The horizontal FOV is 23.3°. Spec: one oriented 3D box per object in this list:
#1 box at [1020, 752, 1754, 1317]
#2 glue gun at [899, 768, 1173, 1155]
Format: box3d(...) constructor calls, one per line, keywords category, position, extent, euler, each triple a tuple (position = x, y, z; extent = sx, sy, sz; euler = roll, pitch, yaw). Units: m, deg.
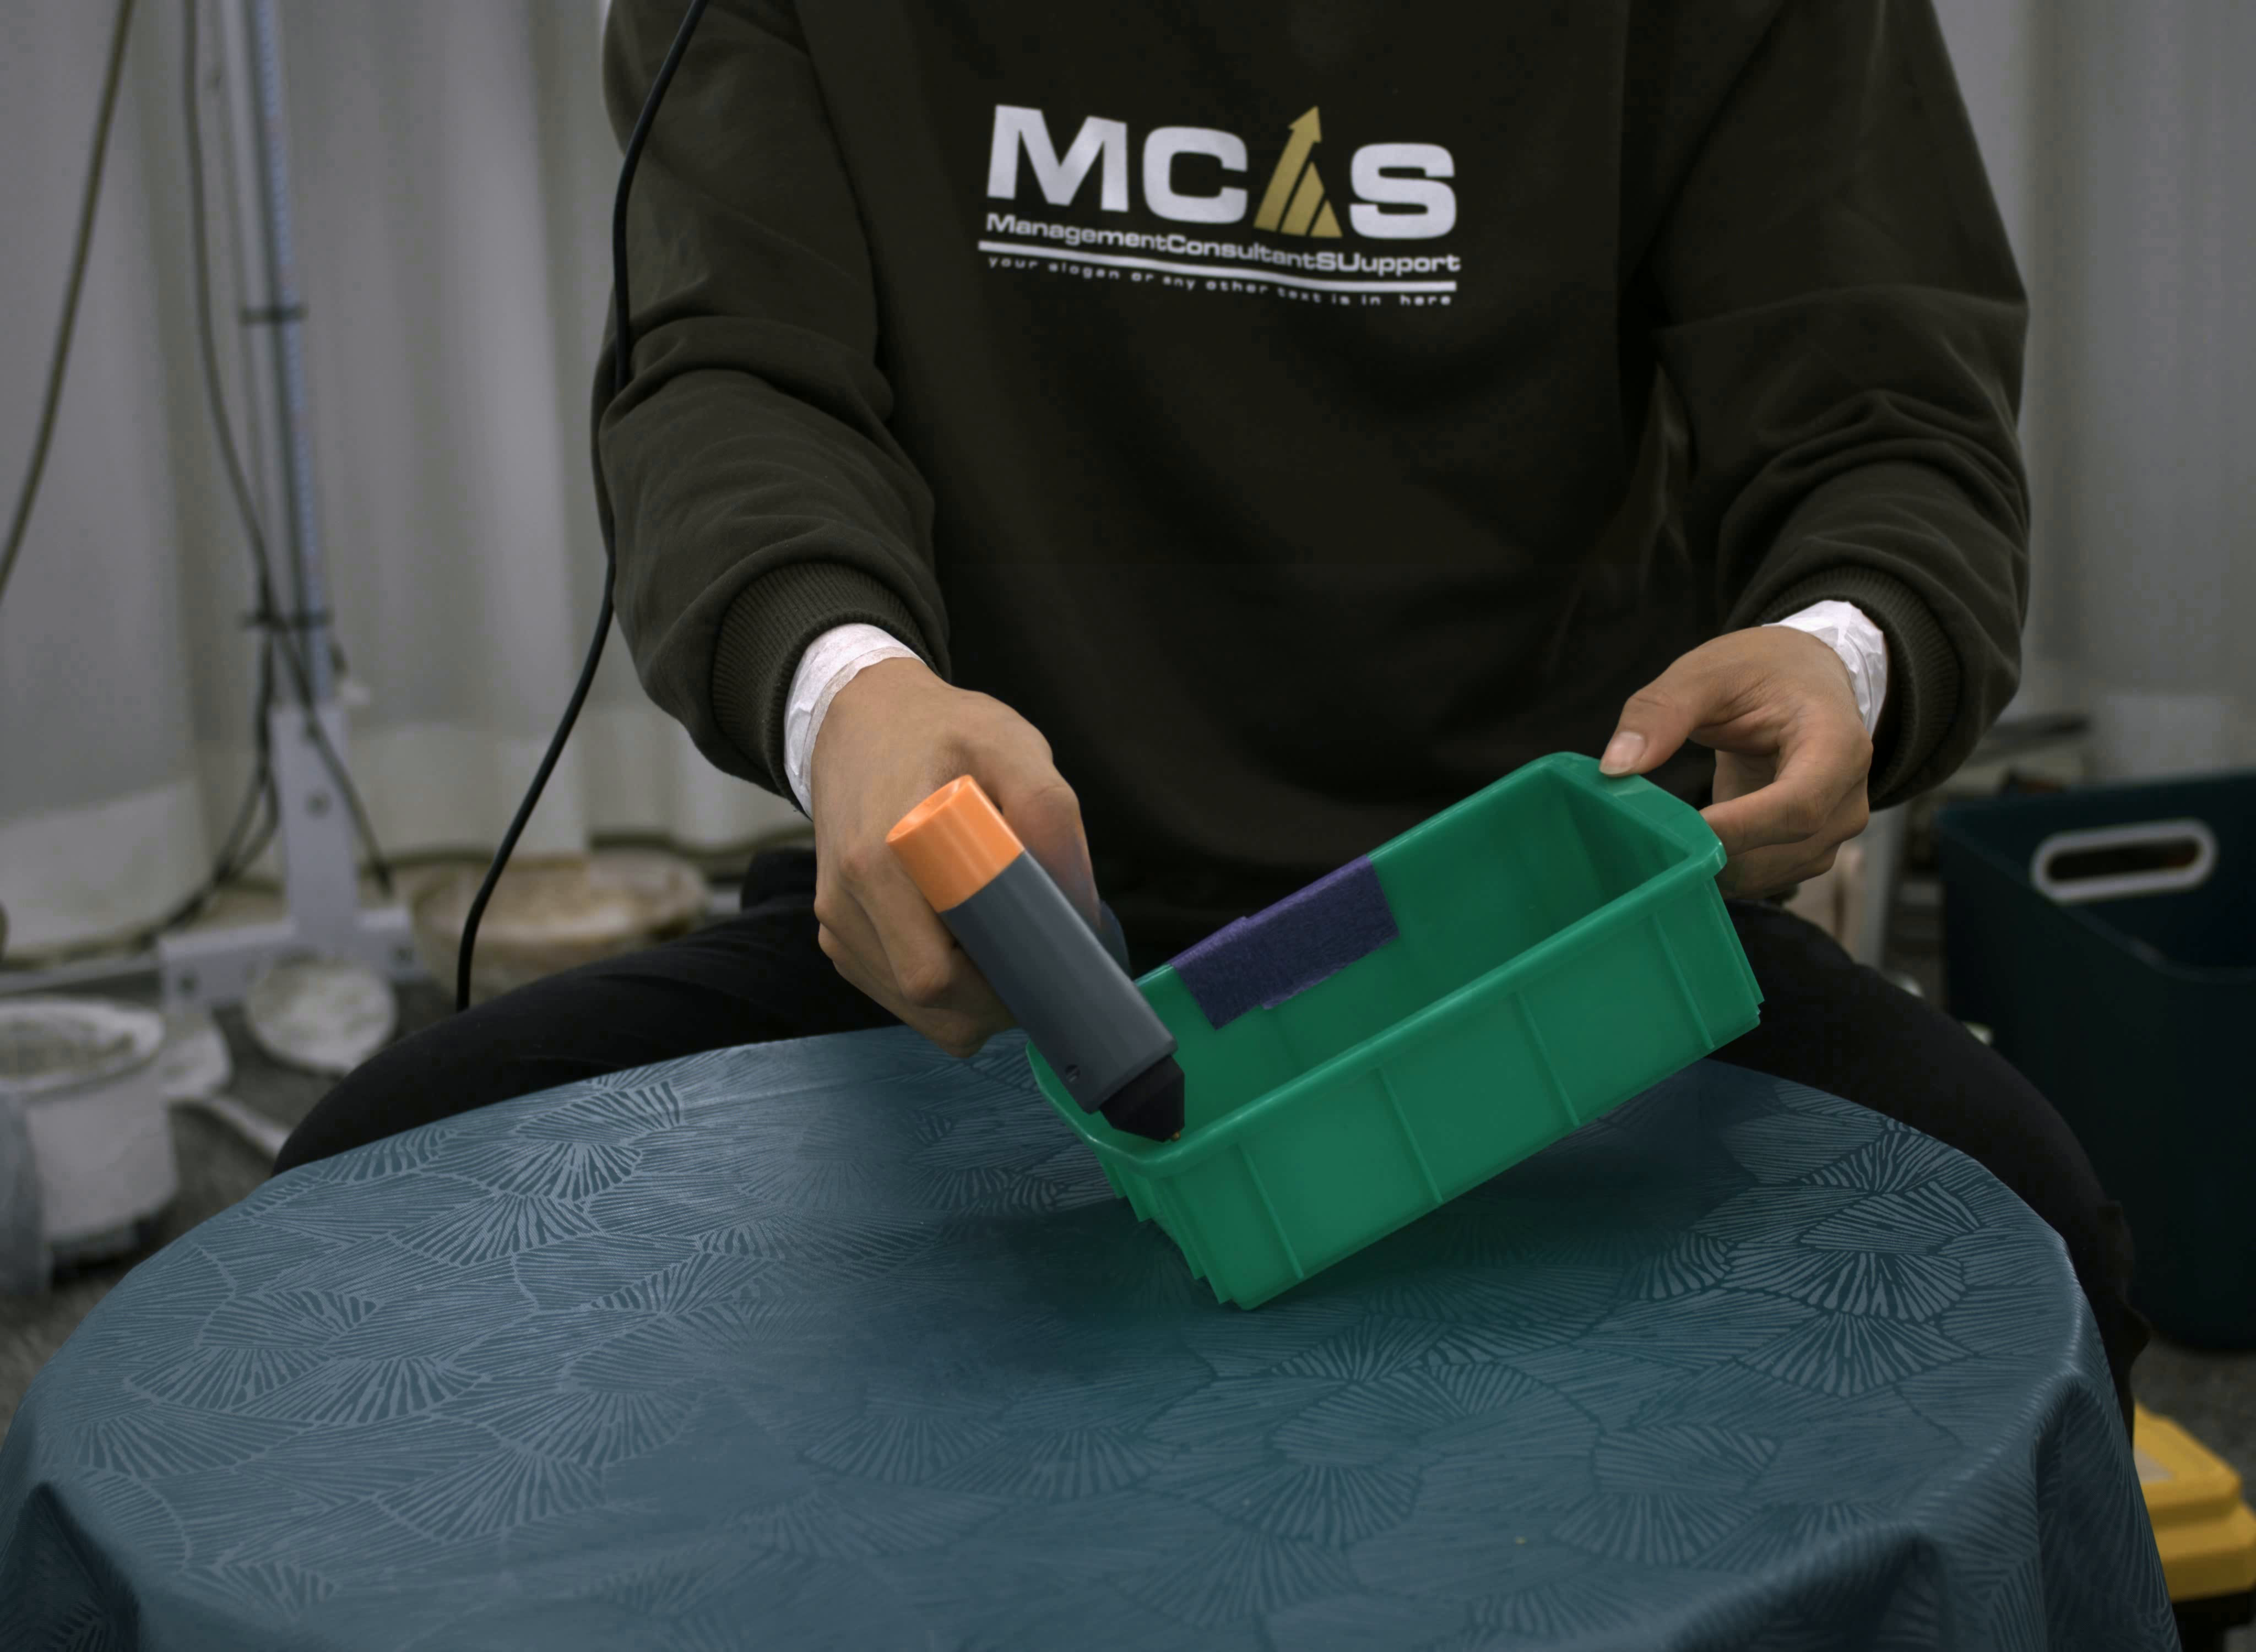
box3d(category="box", position=(0.082, 0.064, 1.661), extent=(0.210, 0.065, 0.139), euler=(-30, 19, -10))
box3d(category="glue gun", position=(-0.026, 0.035, 1.635), extent=(0.041, 0.117, 0.140), euler=(-32, 11, 2))
